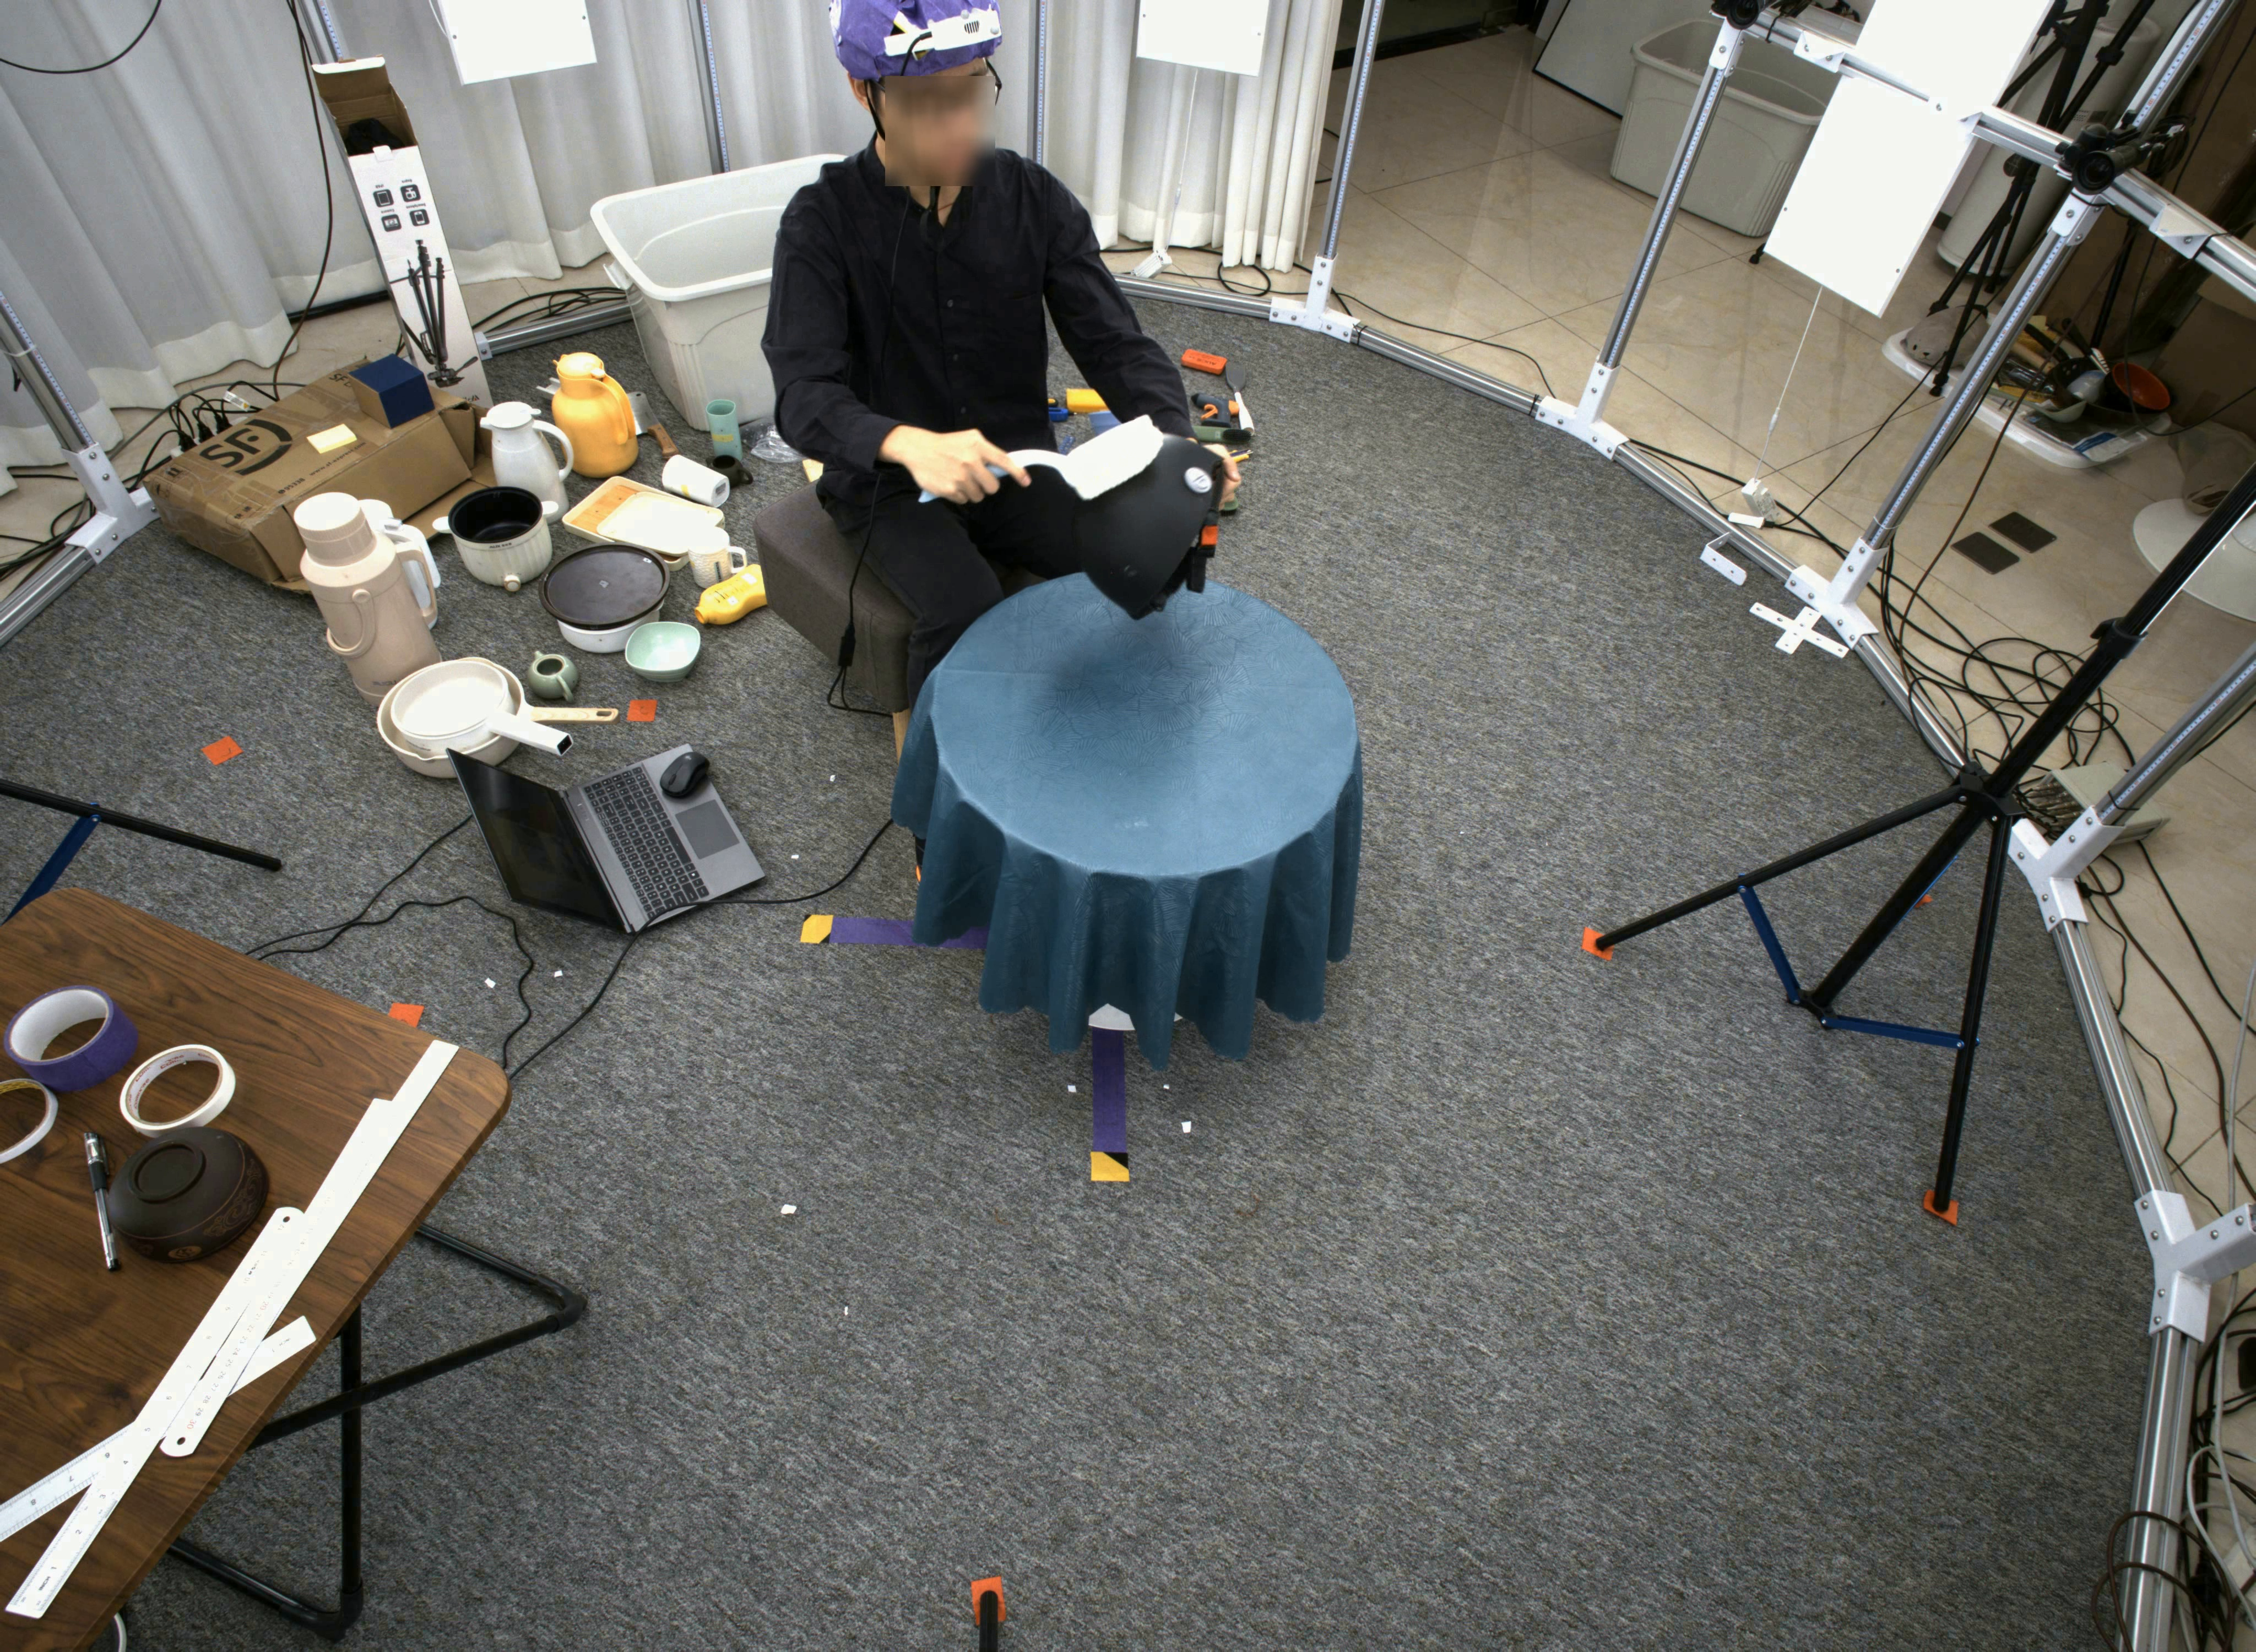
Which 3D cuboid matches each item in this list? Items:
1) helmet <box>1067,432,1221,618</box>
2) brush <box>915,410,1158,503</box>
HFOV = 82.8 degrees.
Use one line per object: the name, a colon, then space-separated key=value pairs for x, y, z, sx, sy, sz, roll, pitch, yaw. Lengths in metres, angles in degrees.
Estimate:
helmet: x=0.008 y=-0.423 z=1.737 sx=0.166 sy=0.226 sz=0.279 roll=32 pitch=43 yaw=-10
brush: x=-0.113 y=-0.450 z=1.661 sx=0.325 sy=0.084 sz=0.084 roll=-15 pitch=8 yaw=12
